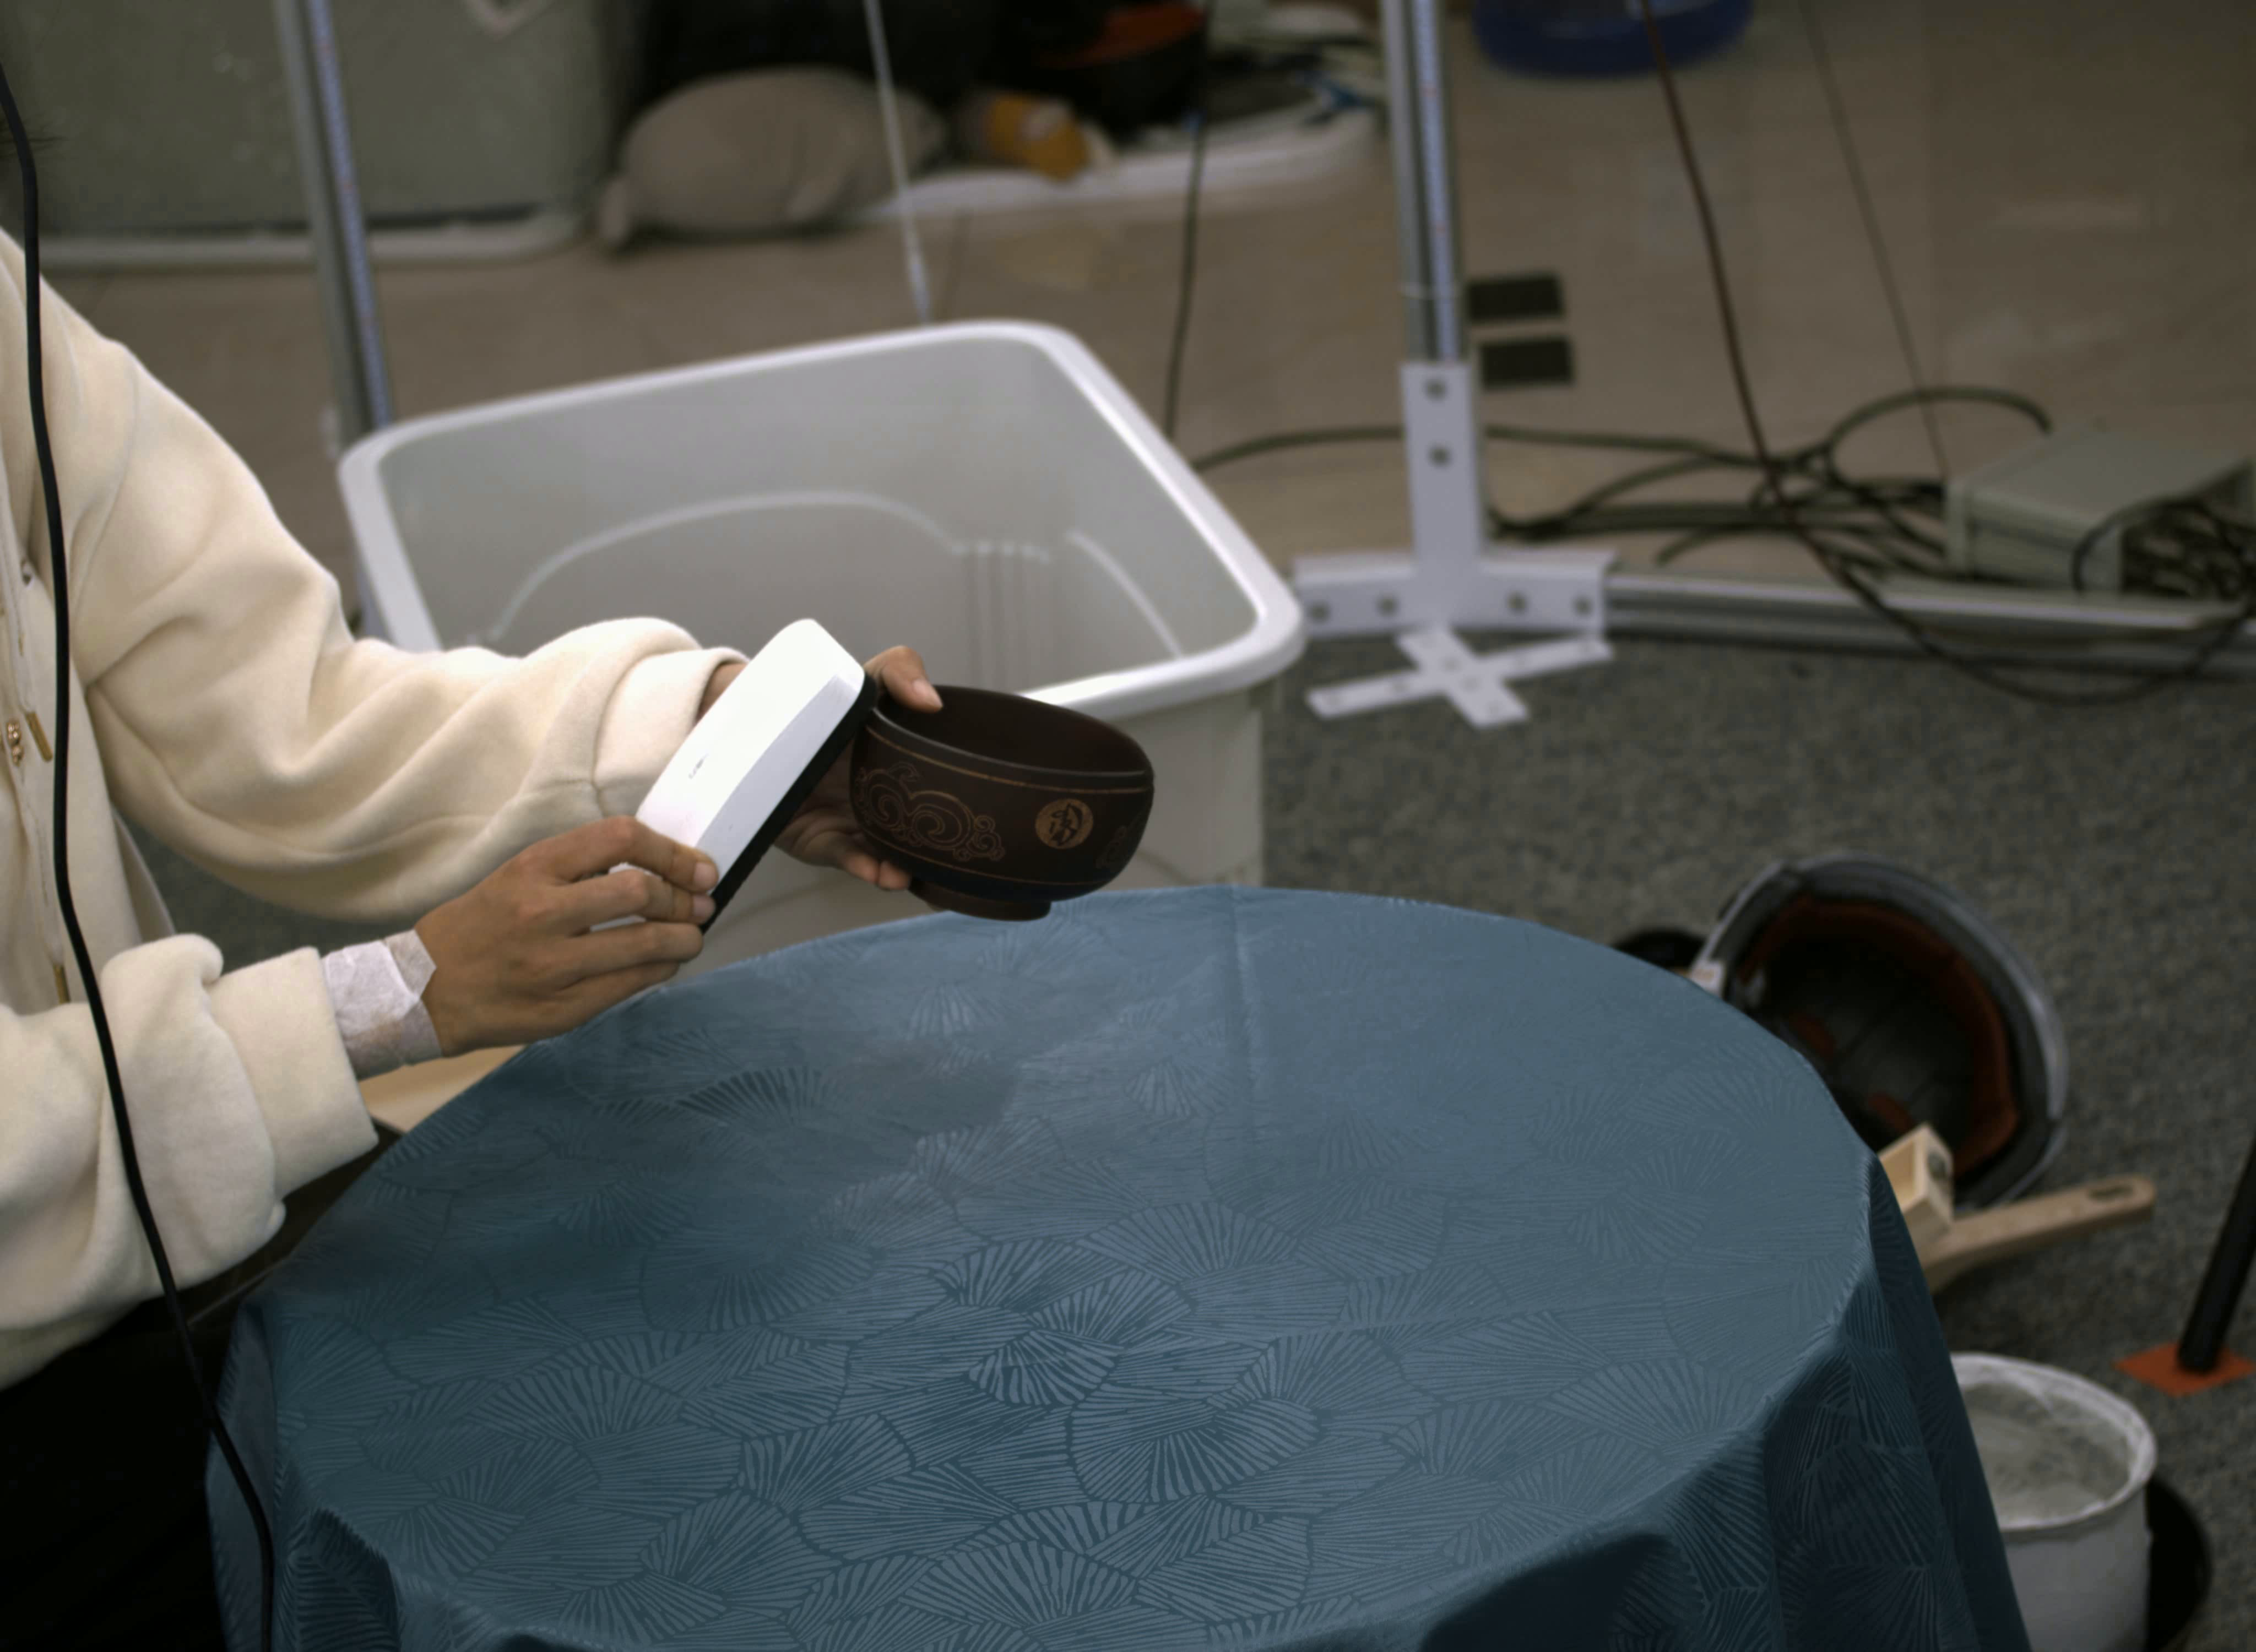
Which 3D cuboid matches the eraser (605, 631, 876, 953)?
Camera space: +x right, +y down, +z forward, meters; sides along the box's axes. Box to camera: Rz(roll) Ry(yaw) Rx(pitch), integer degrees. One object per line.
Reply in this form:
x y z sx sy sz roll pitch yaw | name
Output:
-0.150 -0.015 2.149 0.131 0.035 0.062 -52 29 5 | eraser

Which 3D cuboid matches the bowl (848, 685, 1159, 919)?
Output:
-0.051 -0.006 2.156 0.118 0.070 0.117 11 13 -2 | bowl
